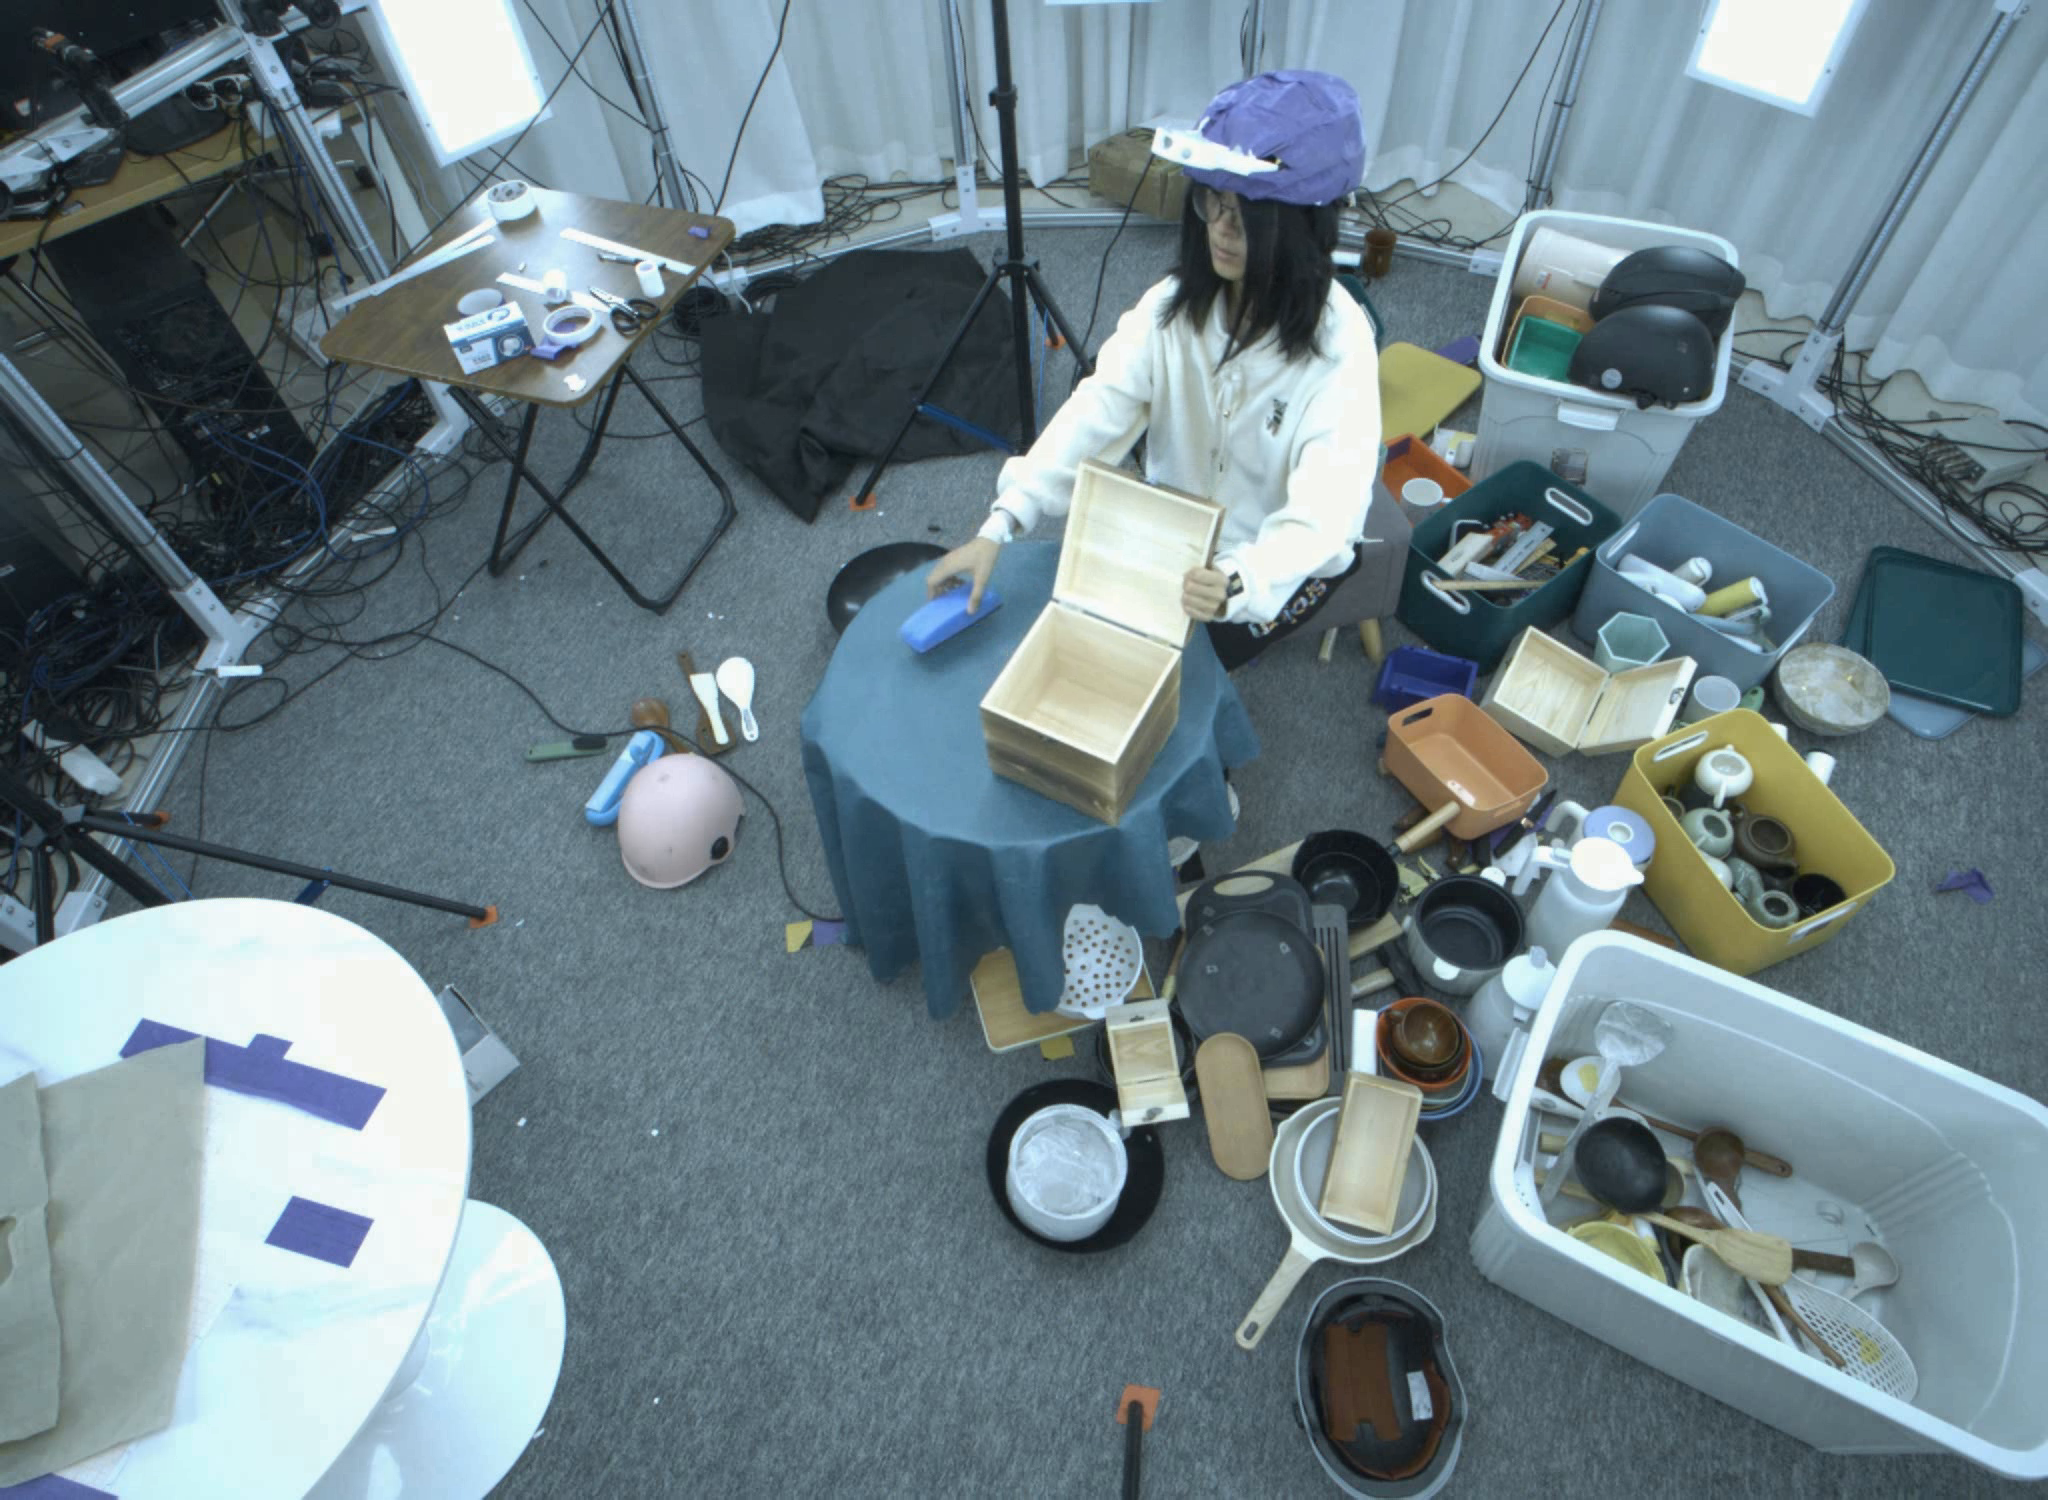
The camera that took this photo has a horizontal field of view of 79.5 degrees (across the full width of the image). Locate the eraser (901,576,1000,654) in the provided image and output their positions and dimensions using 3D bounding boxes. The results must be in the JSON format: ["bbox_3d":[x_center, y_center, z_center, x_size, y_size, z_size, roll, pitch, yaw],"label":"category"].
[{"bbox_3d":[-0.113,-0.212,1.876,0.163,0.048,0.053,-35,57,-23],"label":"eraser"}]

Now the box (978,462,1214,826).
[{"bbox_3d":[0.098,-0.141,1.648,0.206,0.379,0.322,23,62,18],"label":"box"}]
